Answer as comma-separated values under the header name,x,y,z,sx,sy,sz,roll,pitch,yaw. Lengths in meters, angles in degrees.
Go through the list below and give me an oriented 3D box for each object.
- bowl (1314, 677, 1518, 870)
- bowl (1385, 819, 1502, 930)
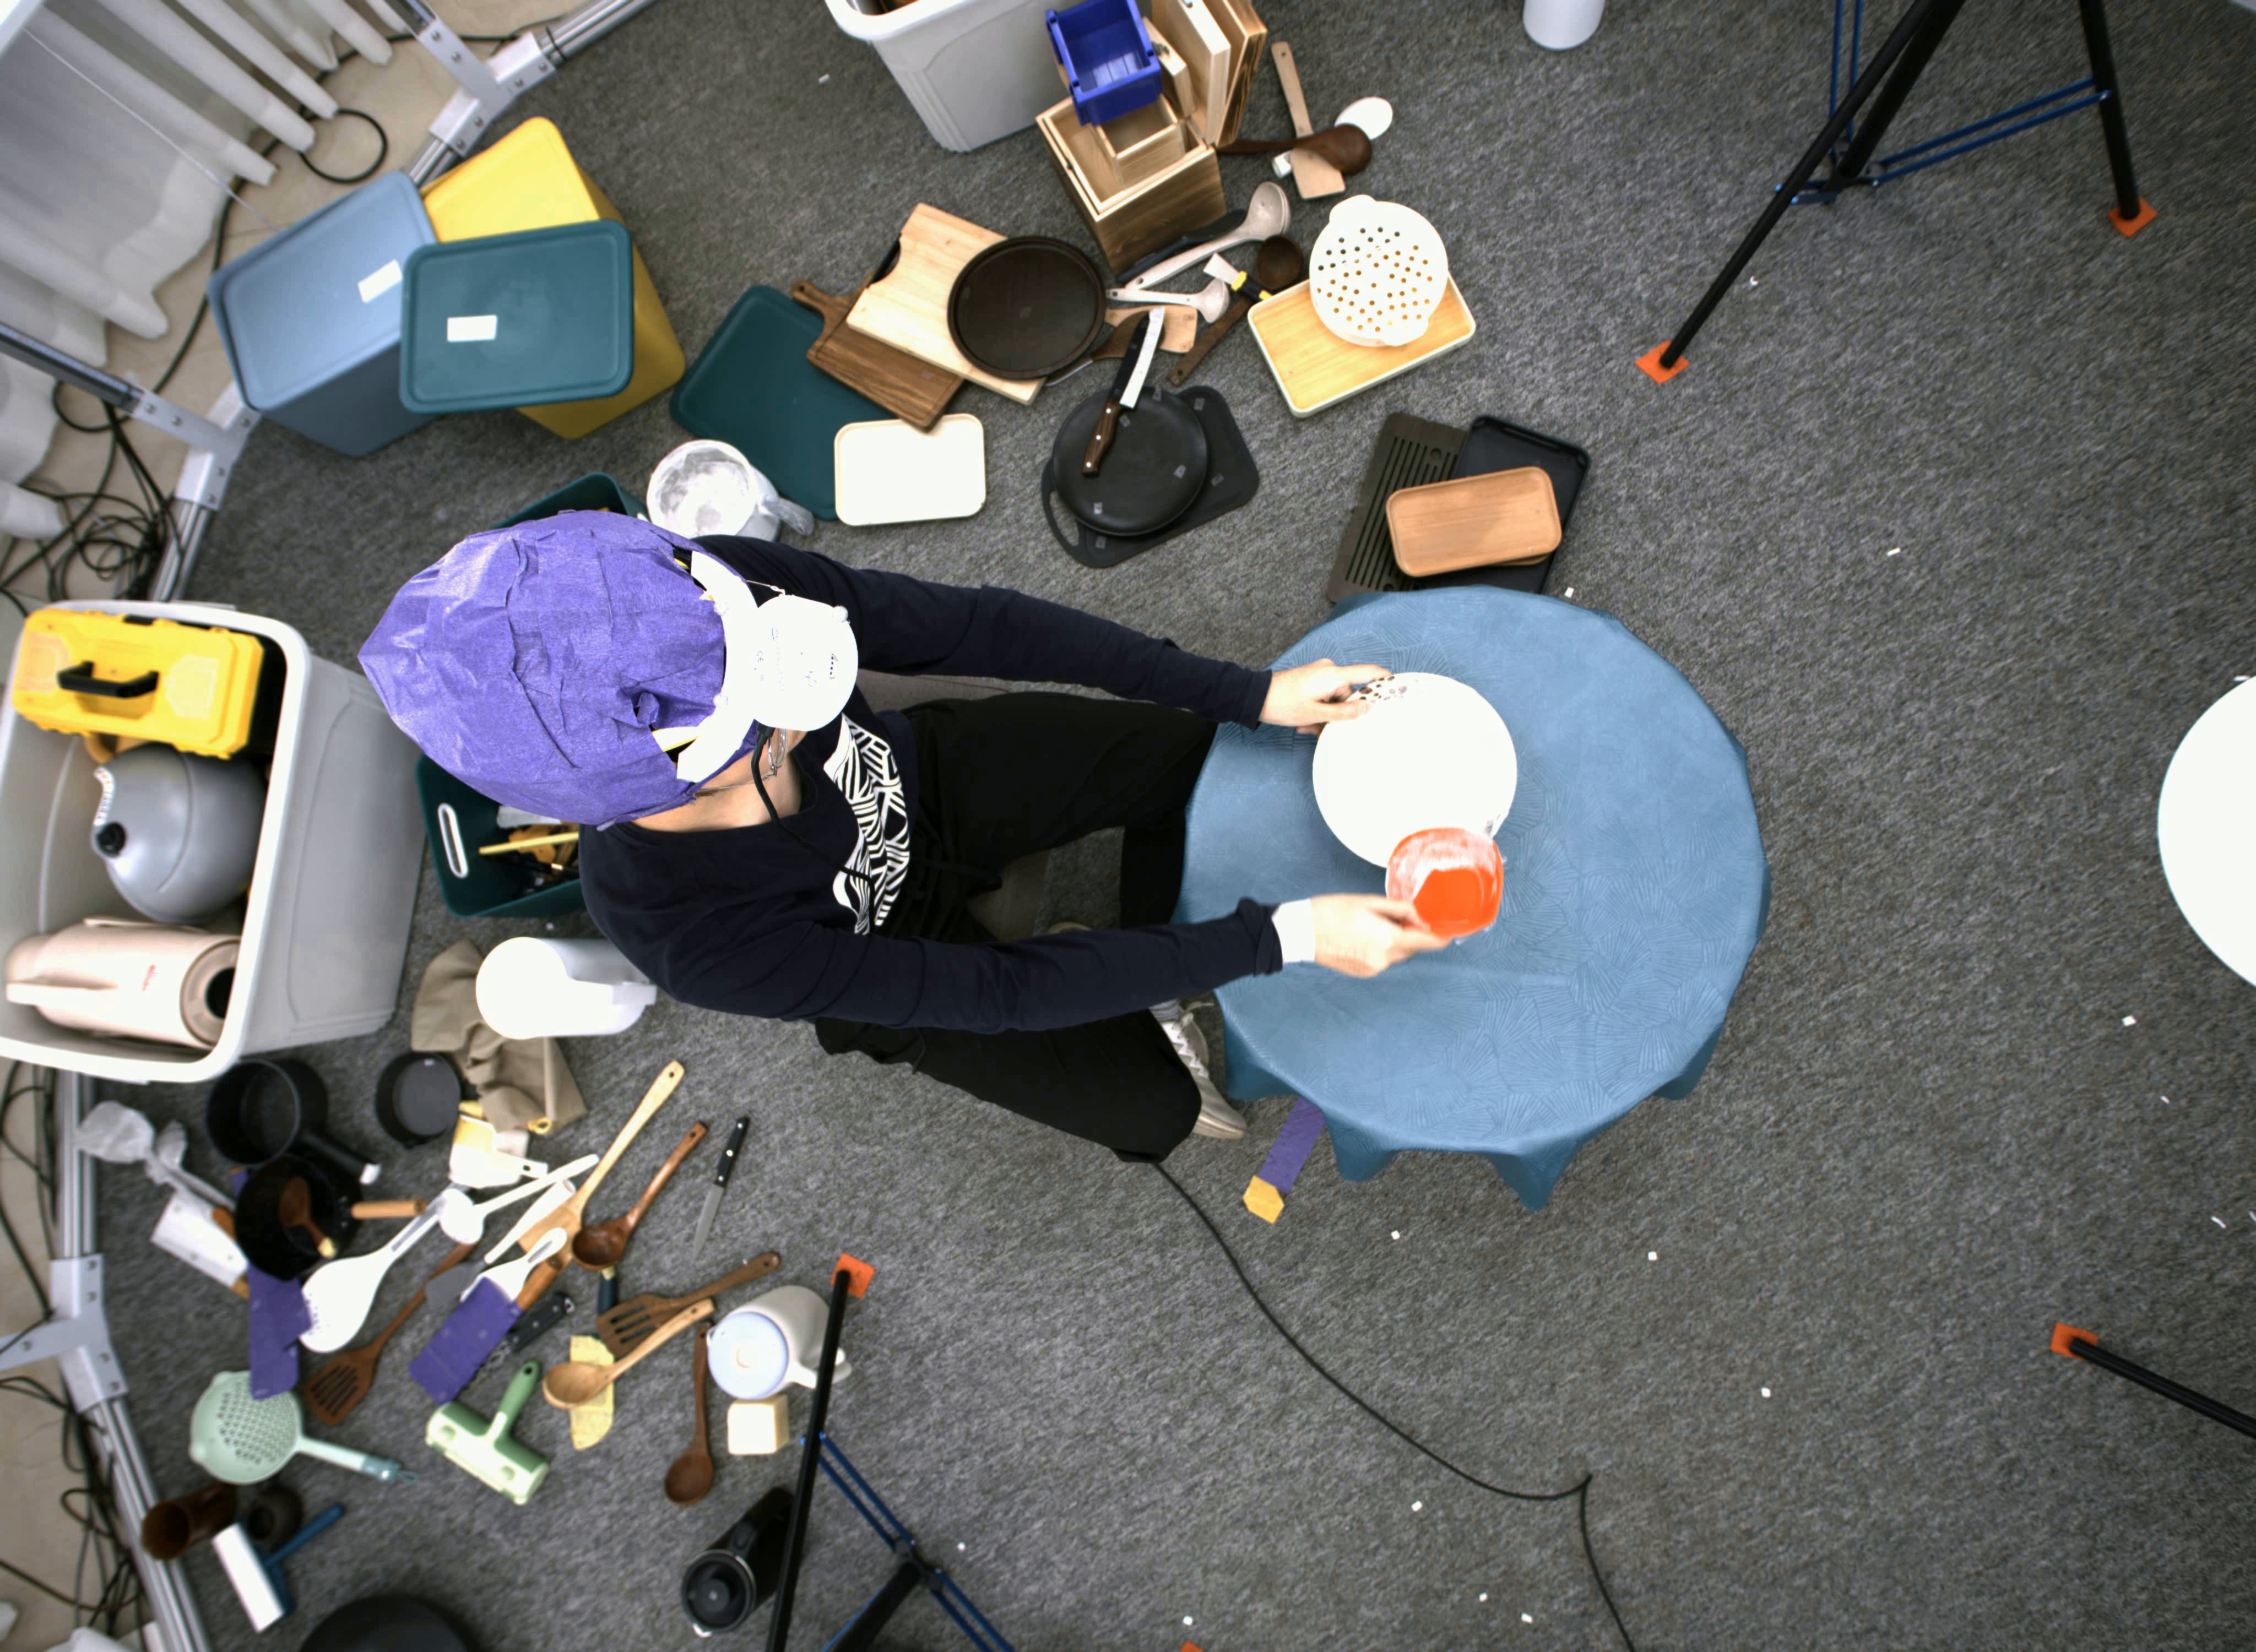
name,x,y,z,sx,sy,sz,roll,pitch,yaw
bowl,0.297,-0.048,1.424,0.205,0.078,0.202,-2,84,13
bowl,0.304,0.051,1.318,0.120,0.052,0.116,-8,67,19
